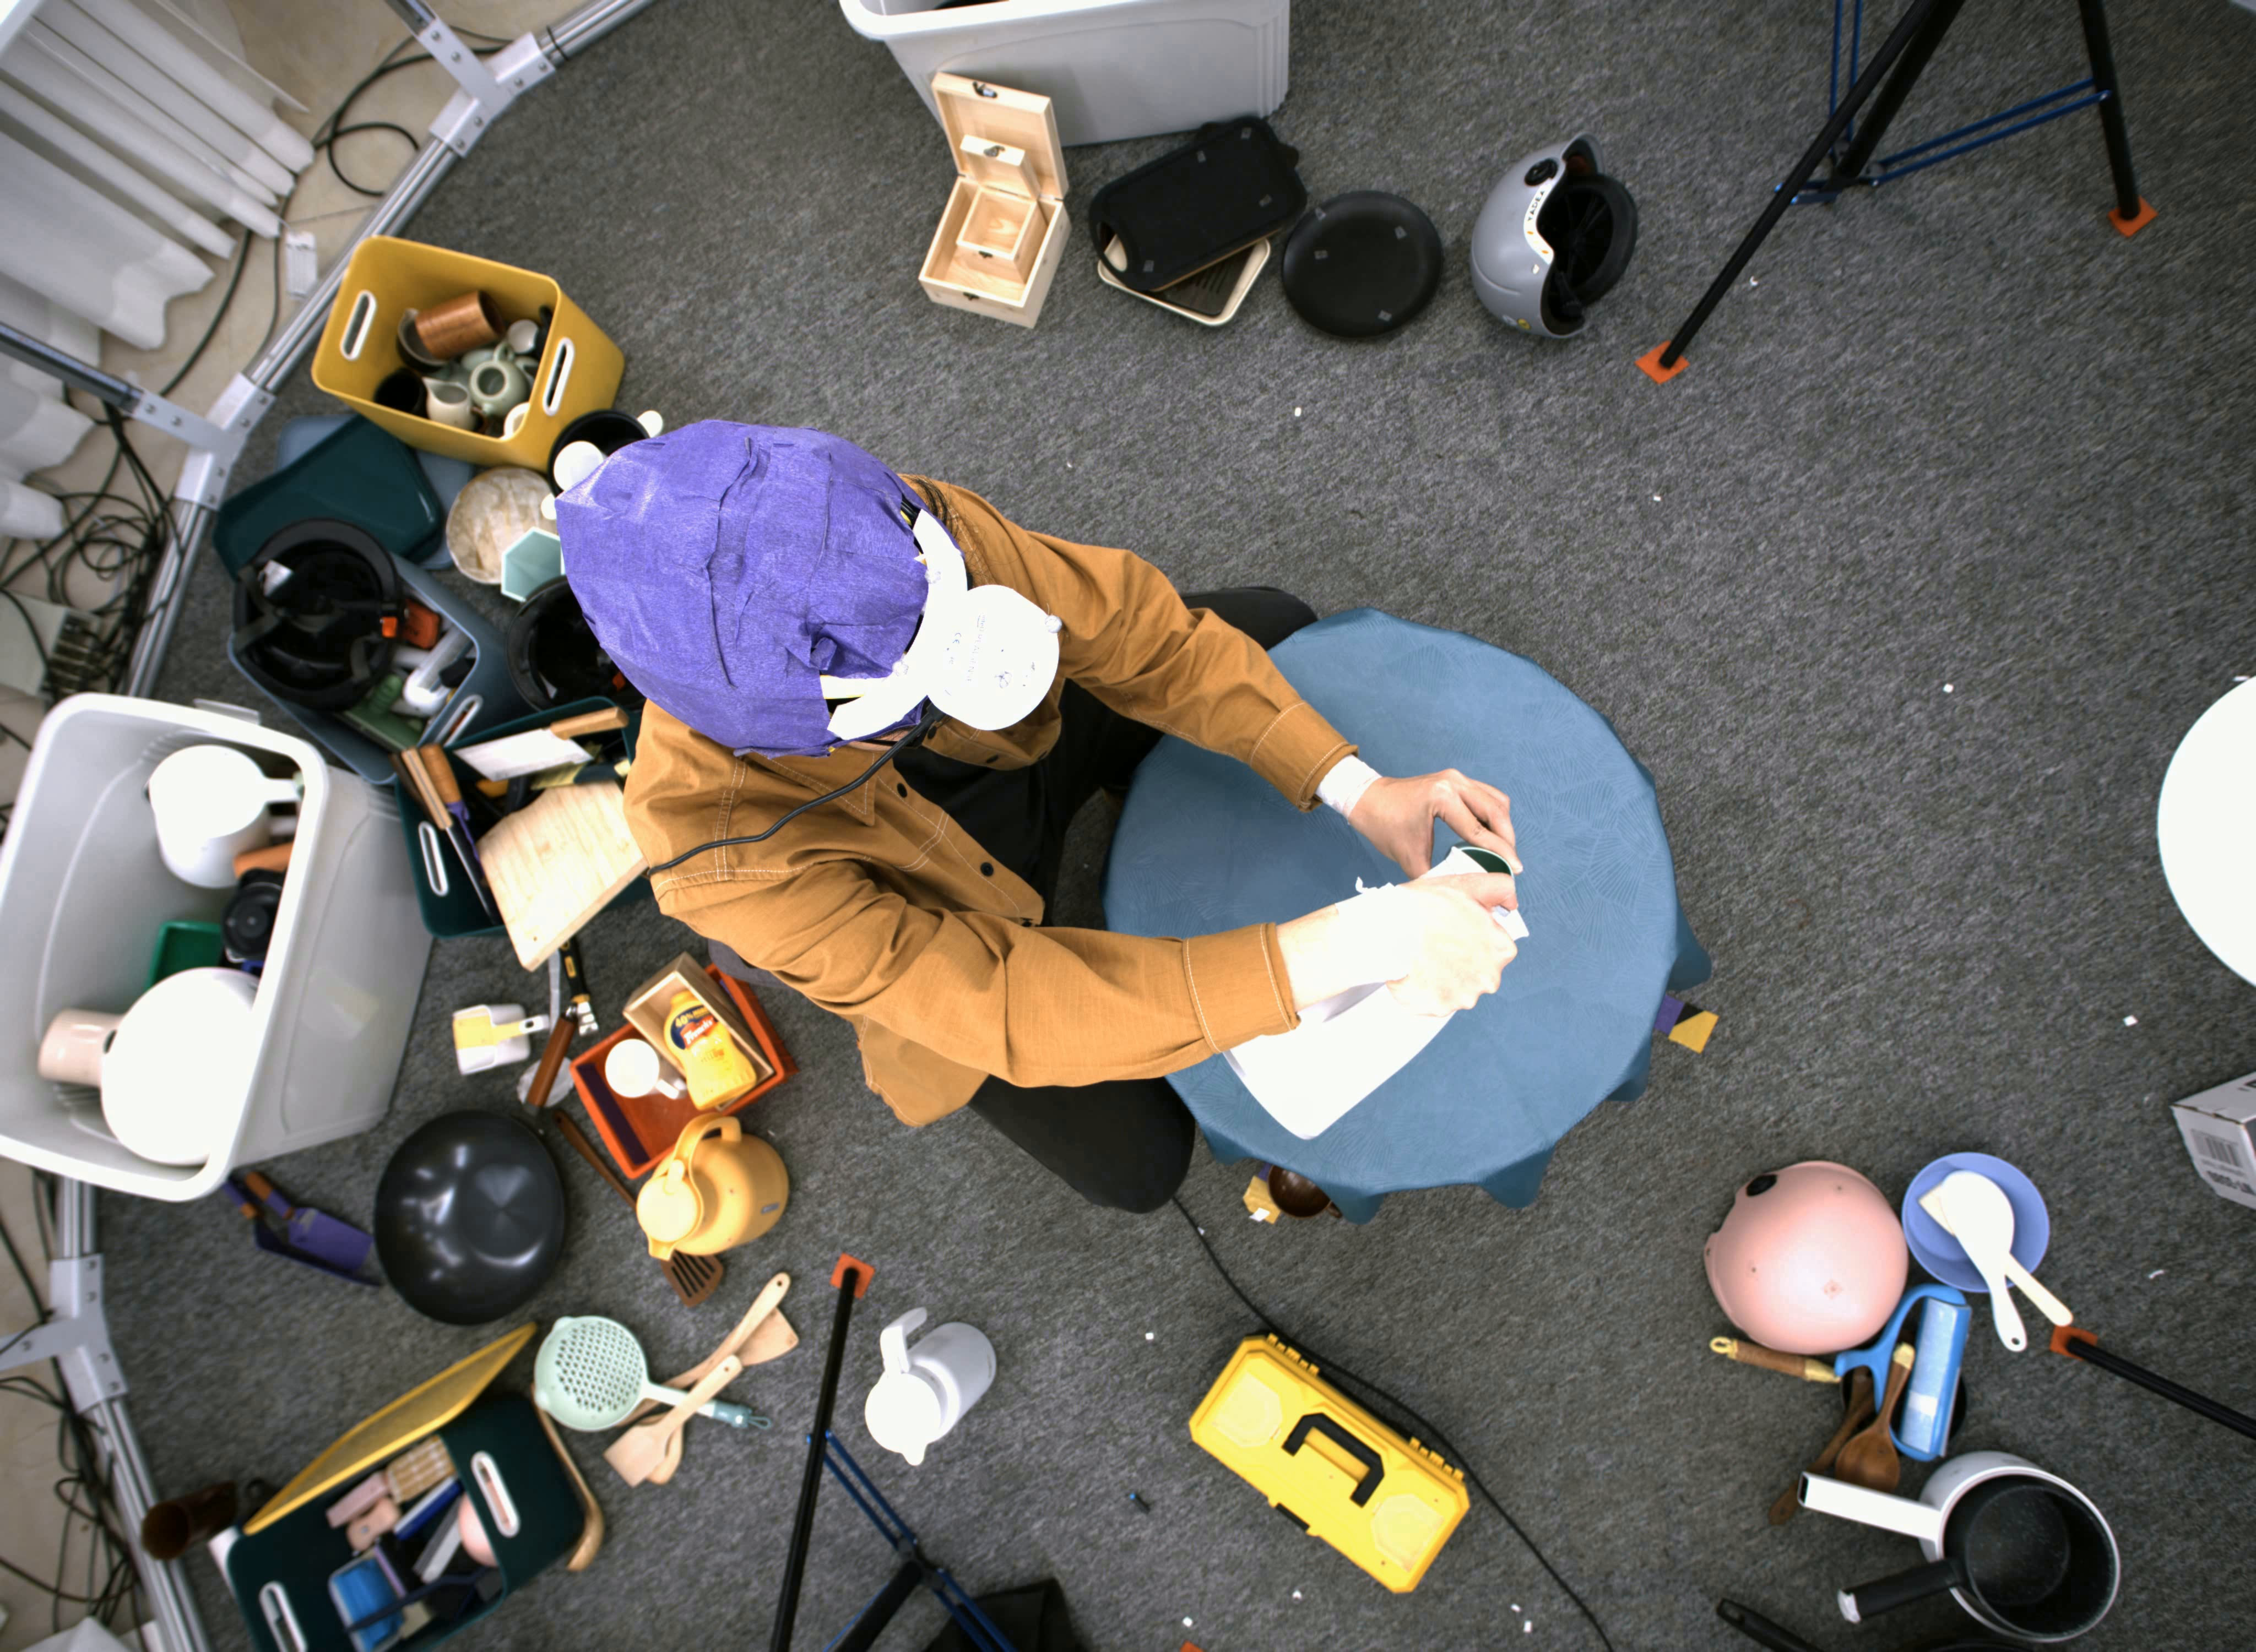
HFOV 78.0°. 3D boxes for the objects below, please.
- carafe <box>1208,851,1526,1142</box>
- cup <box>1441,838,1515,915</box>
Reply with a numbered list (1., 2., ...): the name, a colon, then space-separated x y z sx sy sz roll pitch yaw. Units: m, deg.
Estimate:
1. carafe: 0.198 0.131 1.101 0.251 0.166 0.132 -41 90 14
2. cup: 0.312 0.045 1.241 0.067 0.131 0.067 1 95 13
